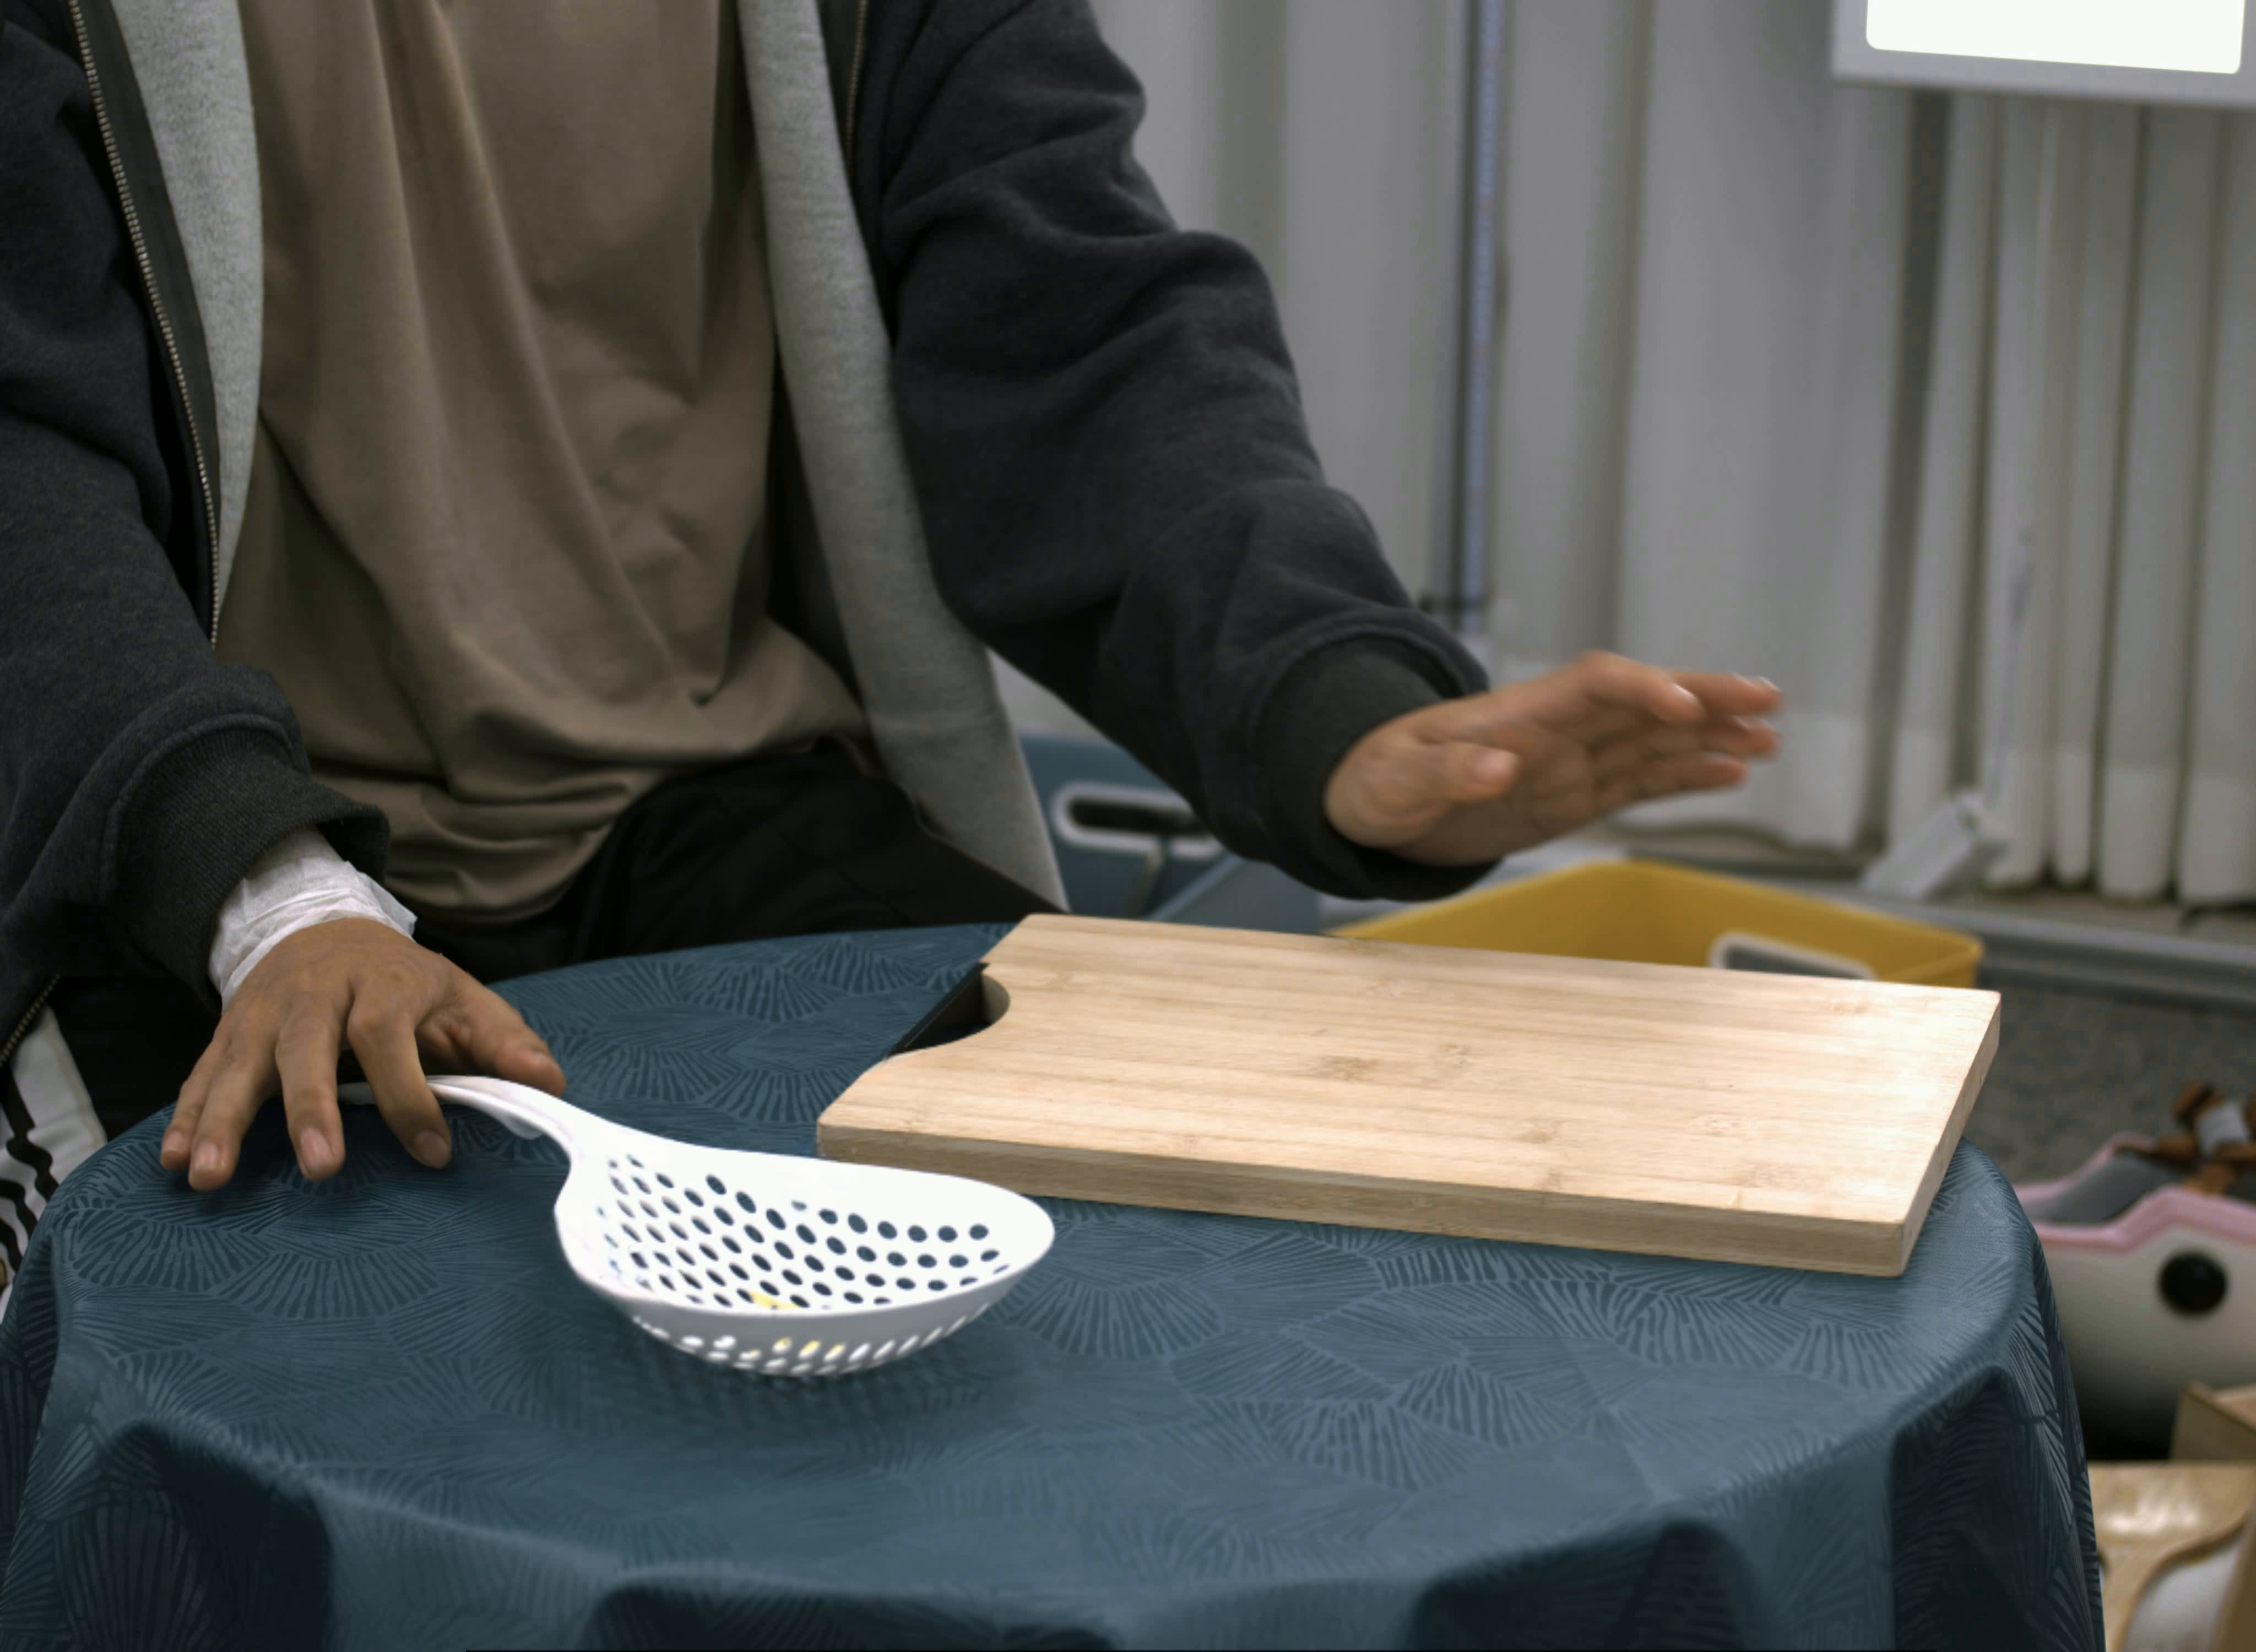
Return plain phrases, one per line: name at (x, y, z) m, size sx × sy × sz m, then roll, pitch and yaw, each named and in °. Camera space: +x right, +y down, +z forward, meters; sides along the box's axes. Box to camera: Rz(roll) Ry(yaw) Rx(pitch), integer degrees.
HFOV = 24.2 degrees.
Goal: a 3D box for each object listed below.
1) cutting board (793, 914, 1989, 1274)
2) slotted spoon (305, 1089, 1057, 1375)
cutting board at (0.092, 0.082, 1.703) m, size 0.346 × 0.024 × 0.250 m, roll 4°, pitch 16°, yaw 13°
slotted spoon at (-0.153, 0.106, 1.561) m, size 0.137 × 0.051 × 0.343 m, roll -12°, pitch 20°, yaw -34°
